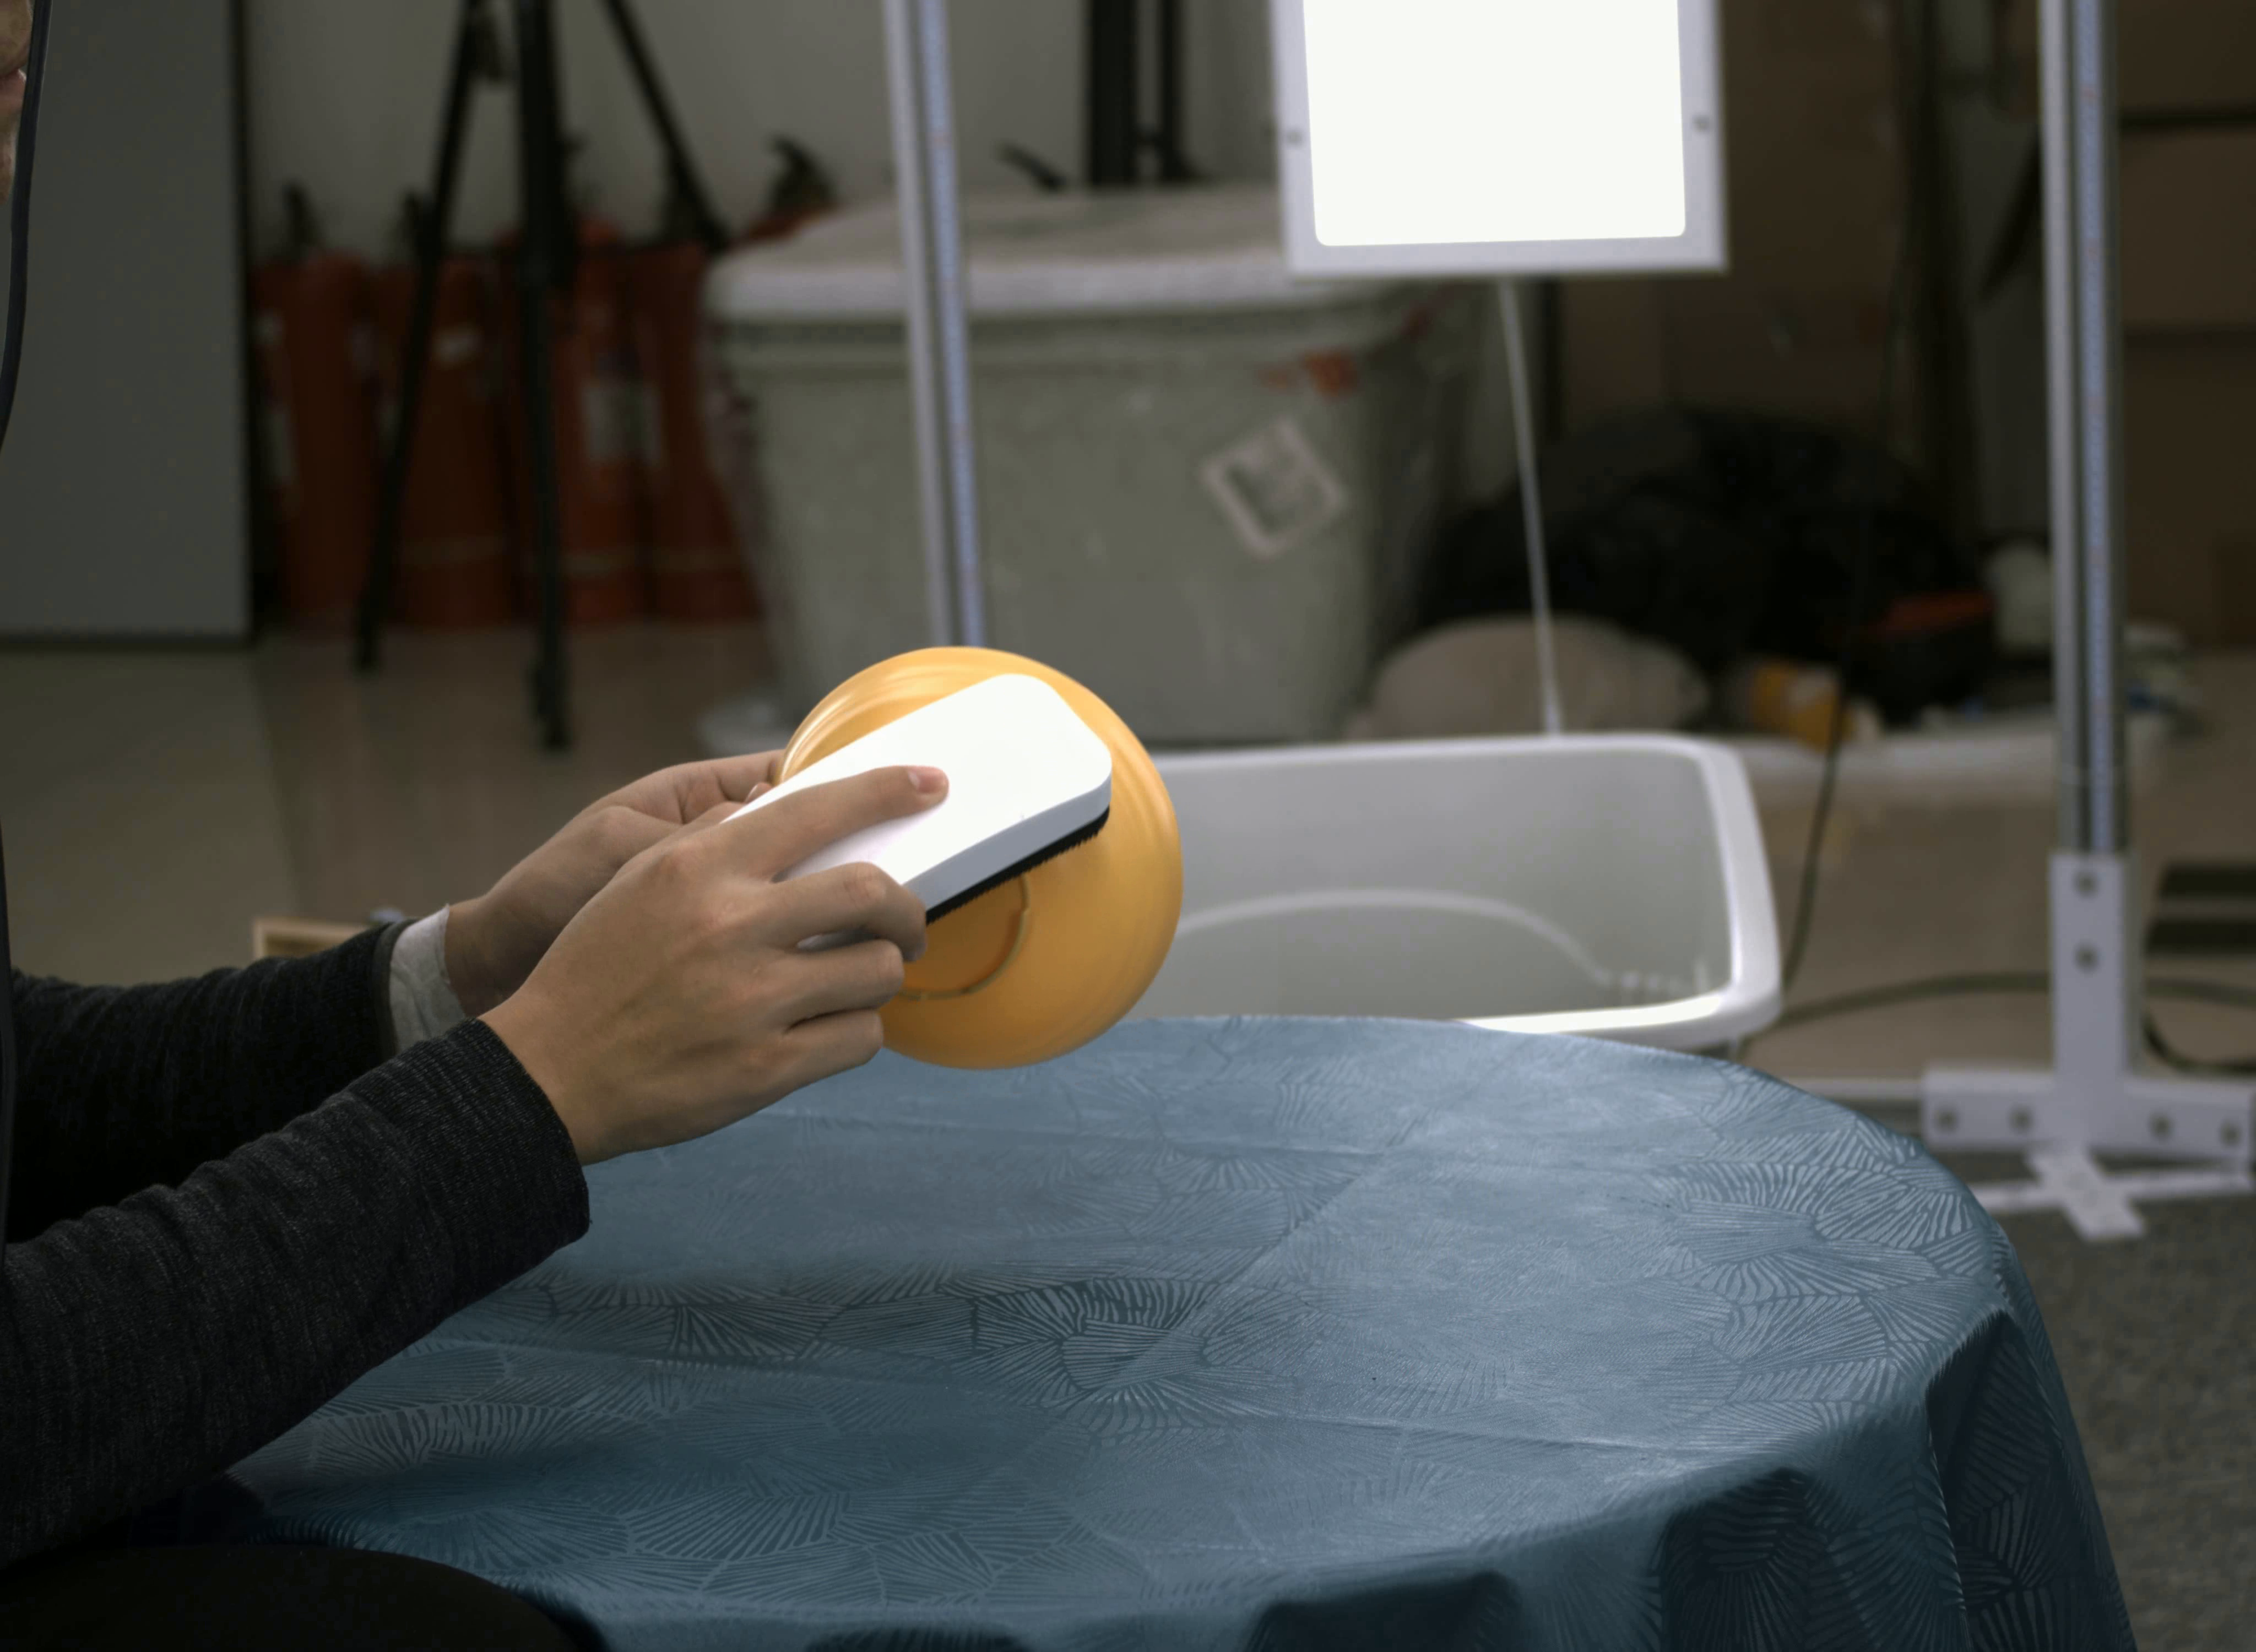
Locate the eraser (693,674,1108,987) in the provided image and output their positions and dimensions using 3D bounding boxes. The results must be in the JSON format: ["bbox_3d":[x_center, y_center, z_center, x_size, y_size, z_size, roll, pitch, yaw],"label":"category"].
[{"bbox_3d":[-0.071,-0.001,1.732,0.129,0.034,0.064,-28,50,-15],"label":"eraser"}]

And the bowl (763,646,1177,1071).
[{"bbox_3d":[-0.060,0.018,1.797,0.147,0.146,0.059,0,14,17],"label":"bowl"}]
